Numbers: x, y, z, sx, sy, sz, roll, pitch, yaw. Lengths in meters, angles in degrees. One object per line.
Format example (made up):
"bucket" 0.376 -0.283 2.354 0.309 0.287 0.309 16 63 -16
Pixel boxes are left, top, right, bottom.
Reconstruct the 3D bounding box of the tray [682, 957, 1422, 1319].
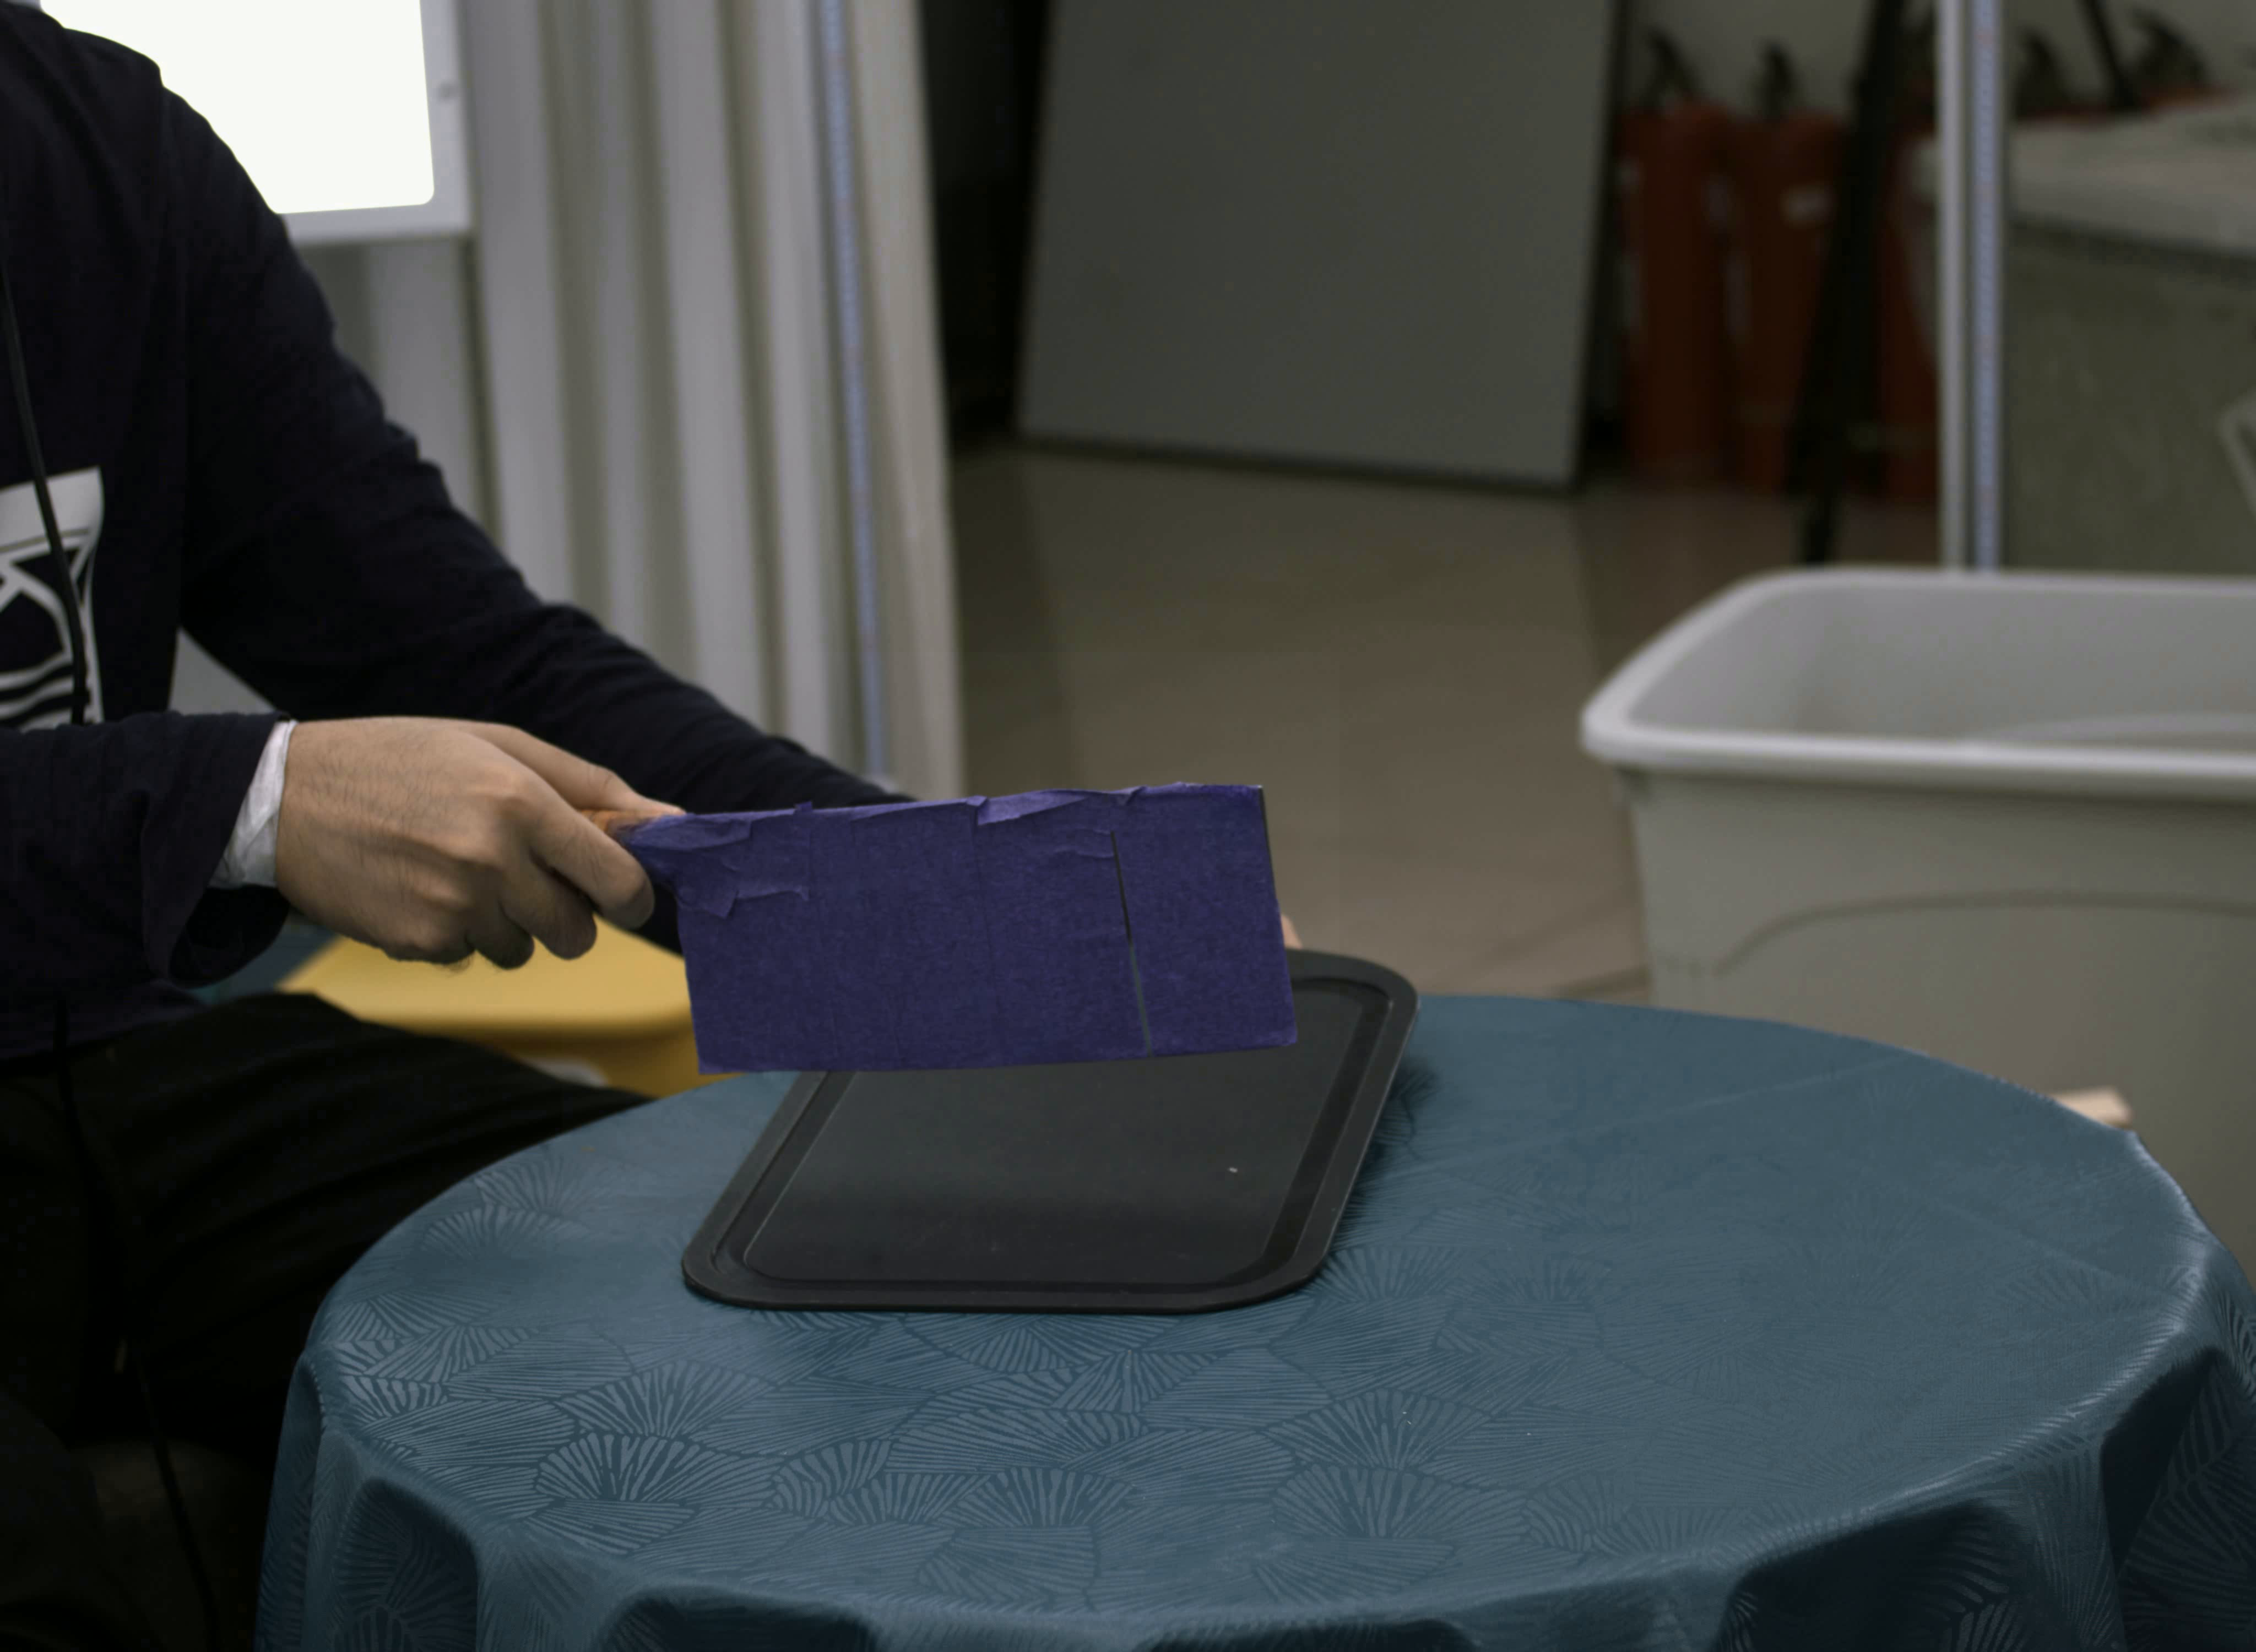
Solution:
"tray" -0.018 0.097 1.812 0.210 0.010 0.324 -1 19 13

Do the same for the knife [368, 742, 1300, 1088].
"knife" -0.098 0.037 1.765 0.314 0.105 0.032 -4 10 20
